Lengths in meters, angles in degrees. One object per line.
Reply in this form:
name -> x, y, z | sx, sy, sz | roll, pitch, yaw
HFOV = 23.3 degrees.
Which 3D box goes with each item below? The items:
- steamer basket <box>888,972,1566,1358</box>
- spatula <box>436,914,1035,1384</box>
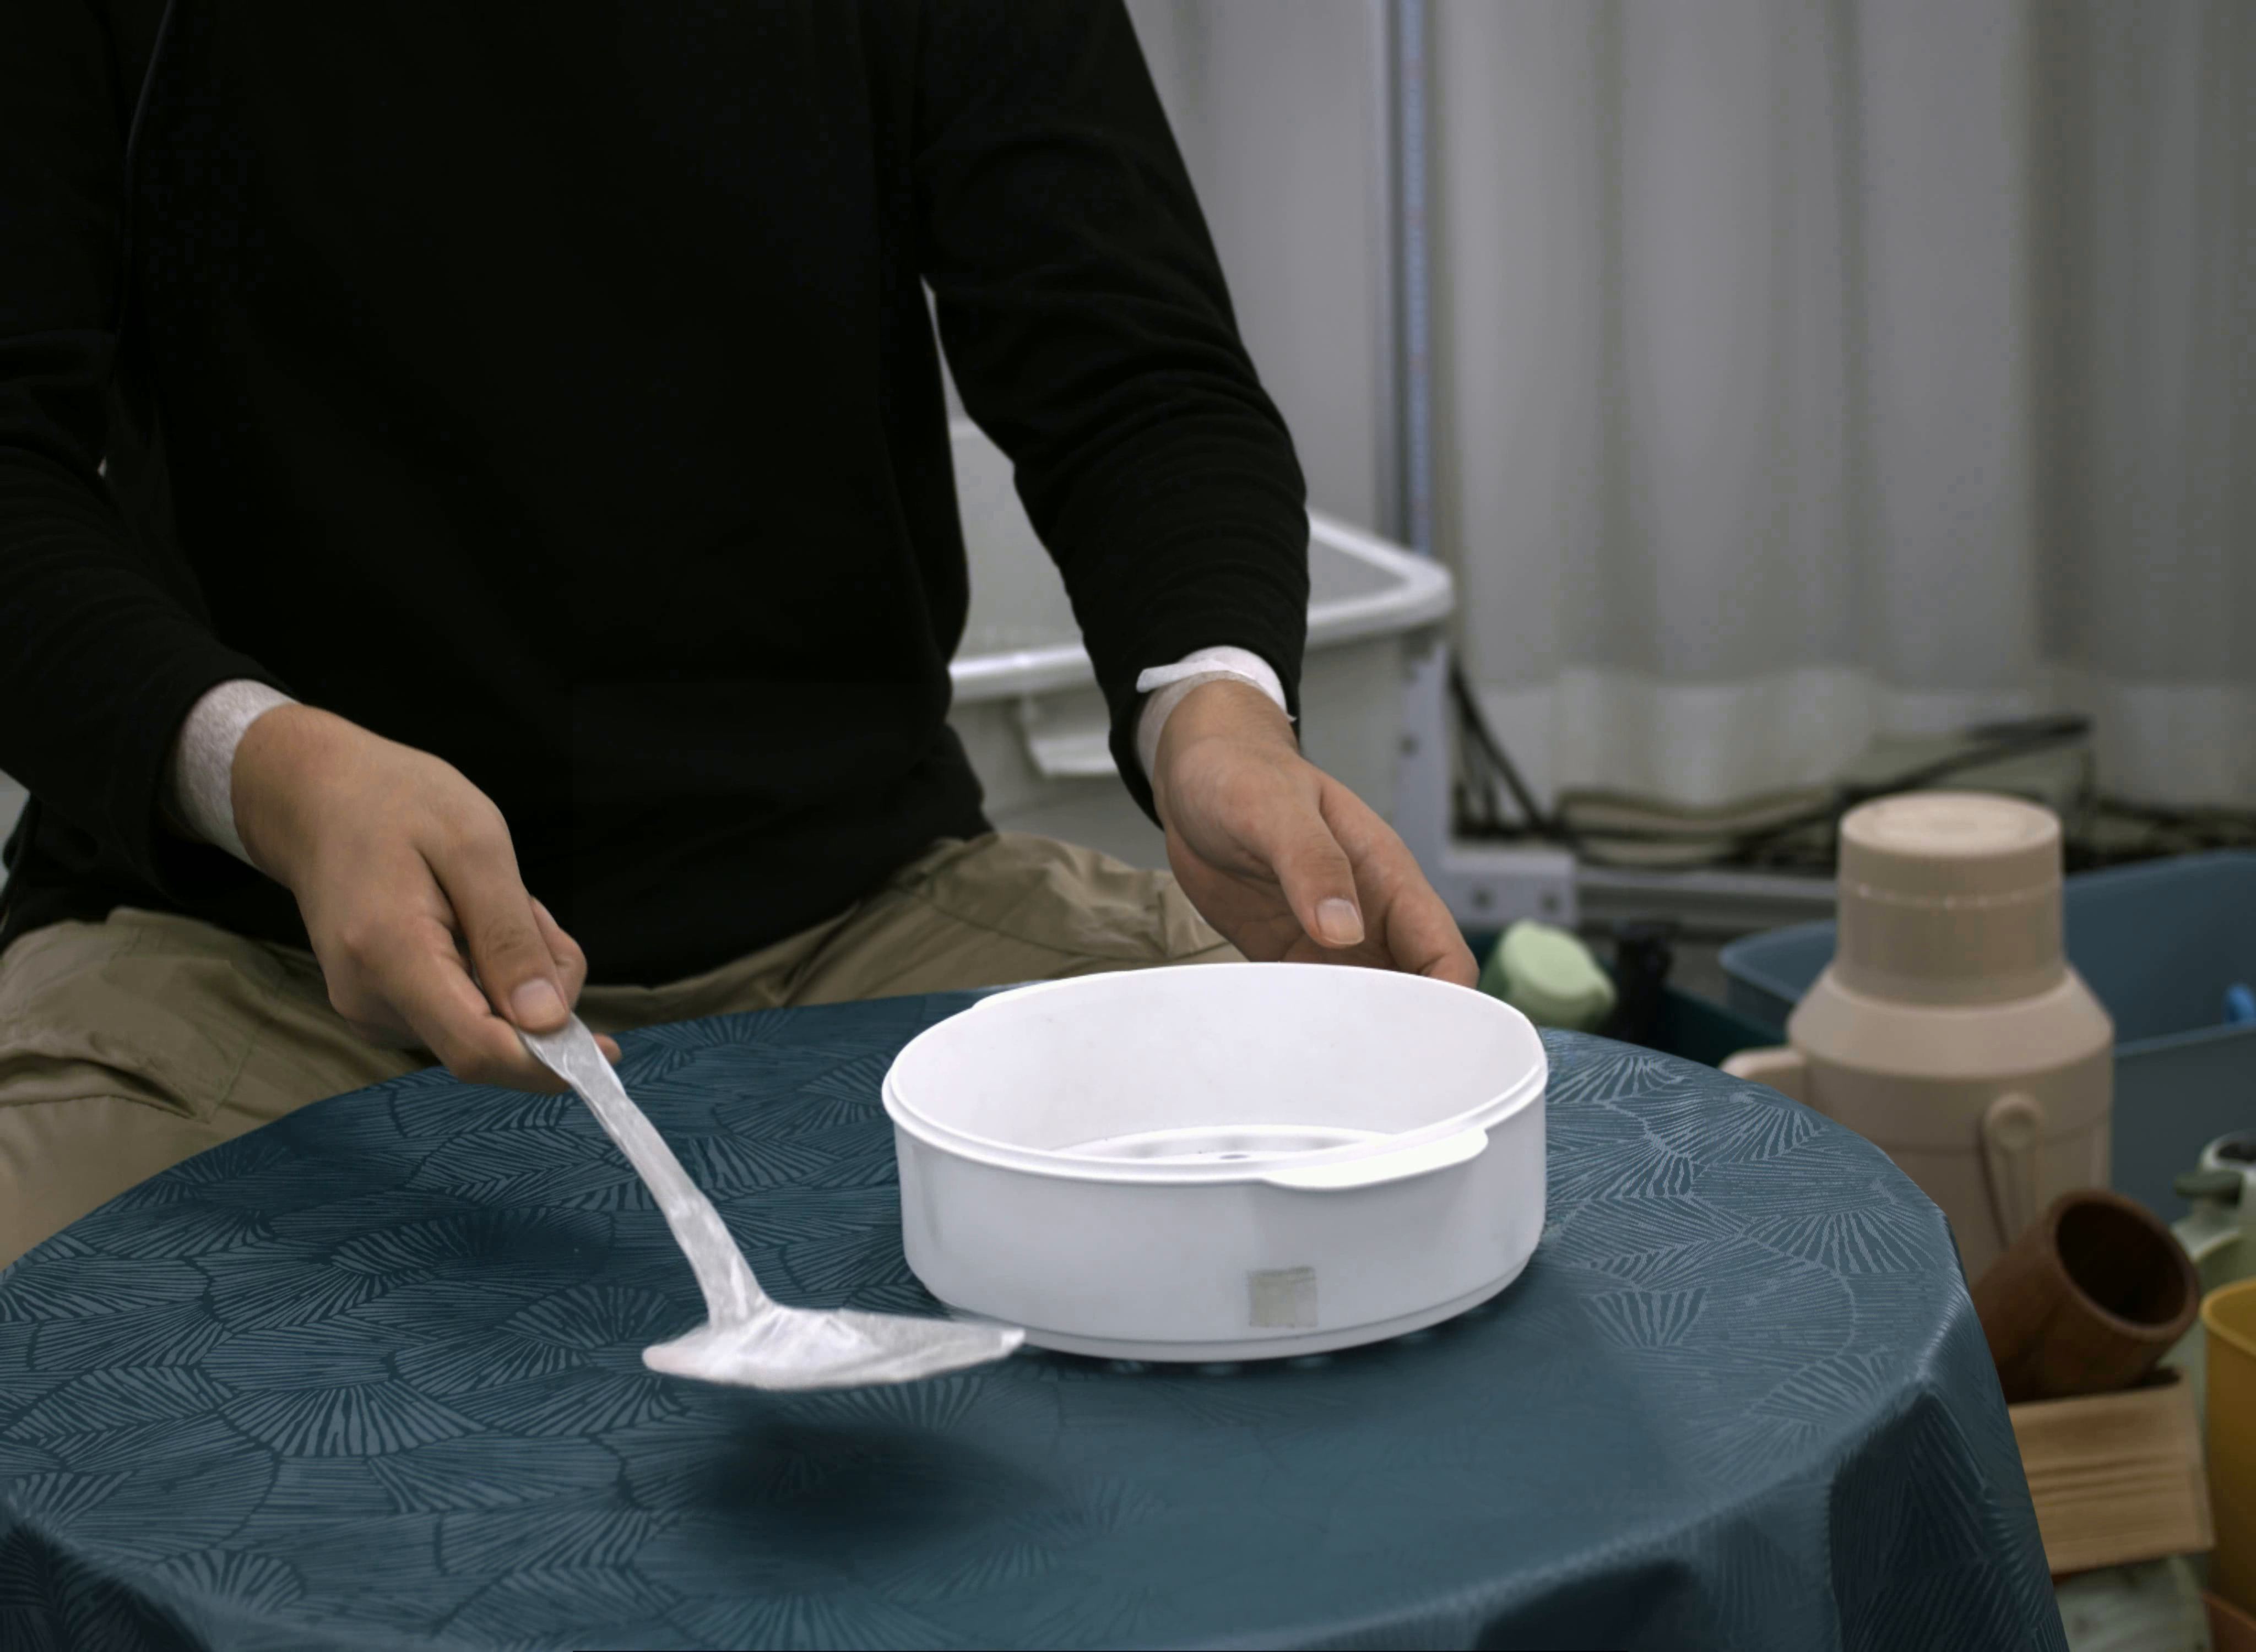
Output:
steamer basket -> 0.030, 0.100, 1.627 | 0.201, 0.069, 0.232 | -9, 15, -25
spatula -> -0.140, 0.086, 1.593 | 0.098, 0.044, 0.369 | -7, 27, -25
